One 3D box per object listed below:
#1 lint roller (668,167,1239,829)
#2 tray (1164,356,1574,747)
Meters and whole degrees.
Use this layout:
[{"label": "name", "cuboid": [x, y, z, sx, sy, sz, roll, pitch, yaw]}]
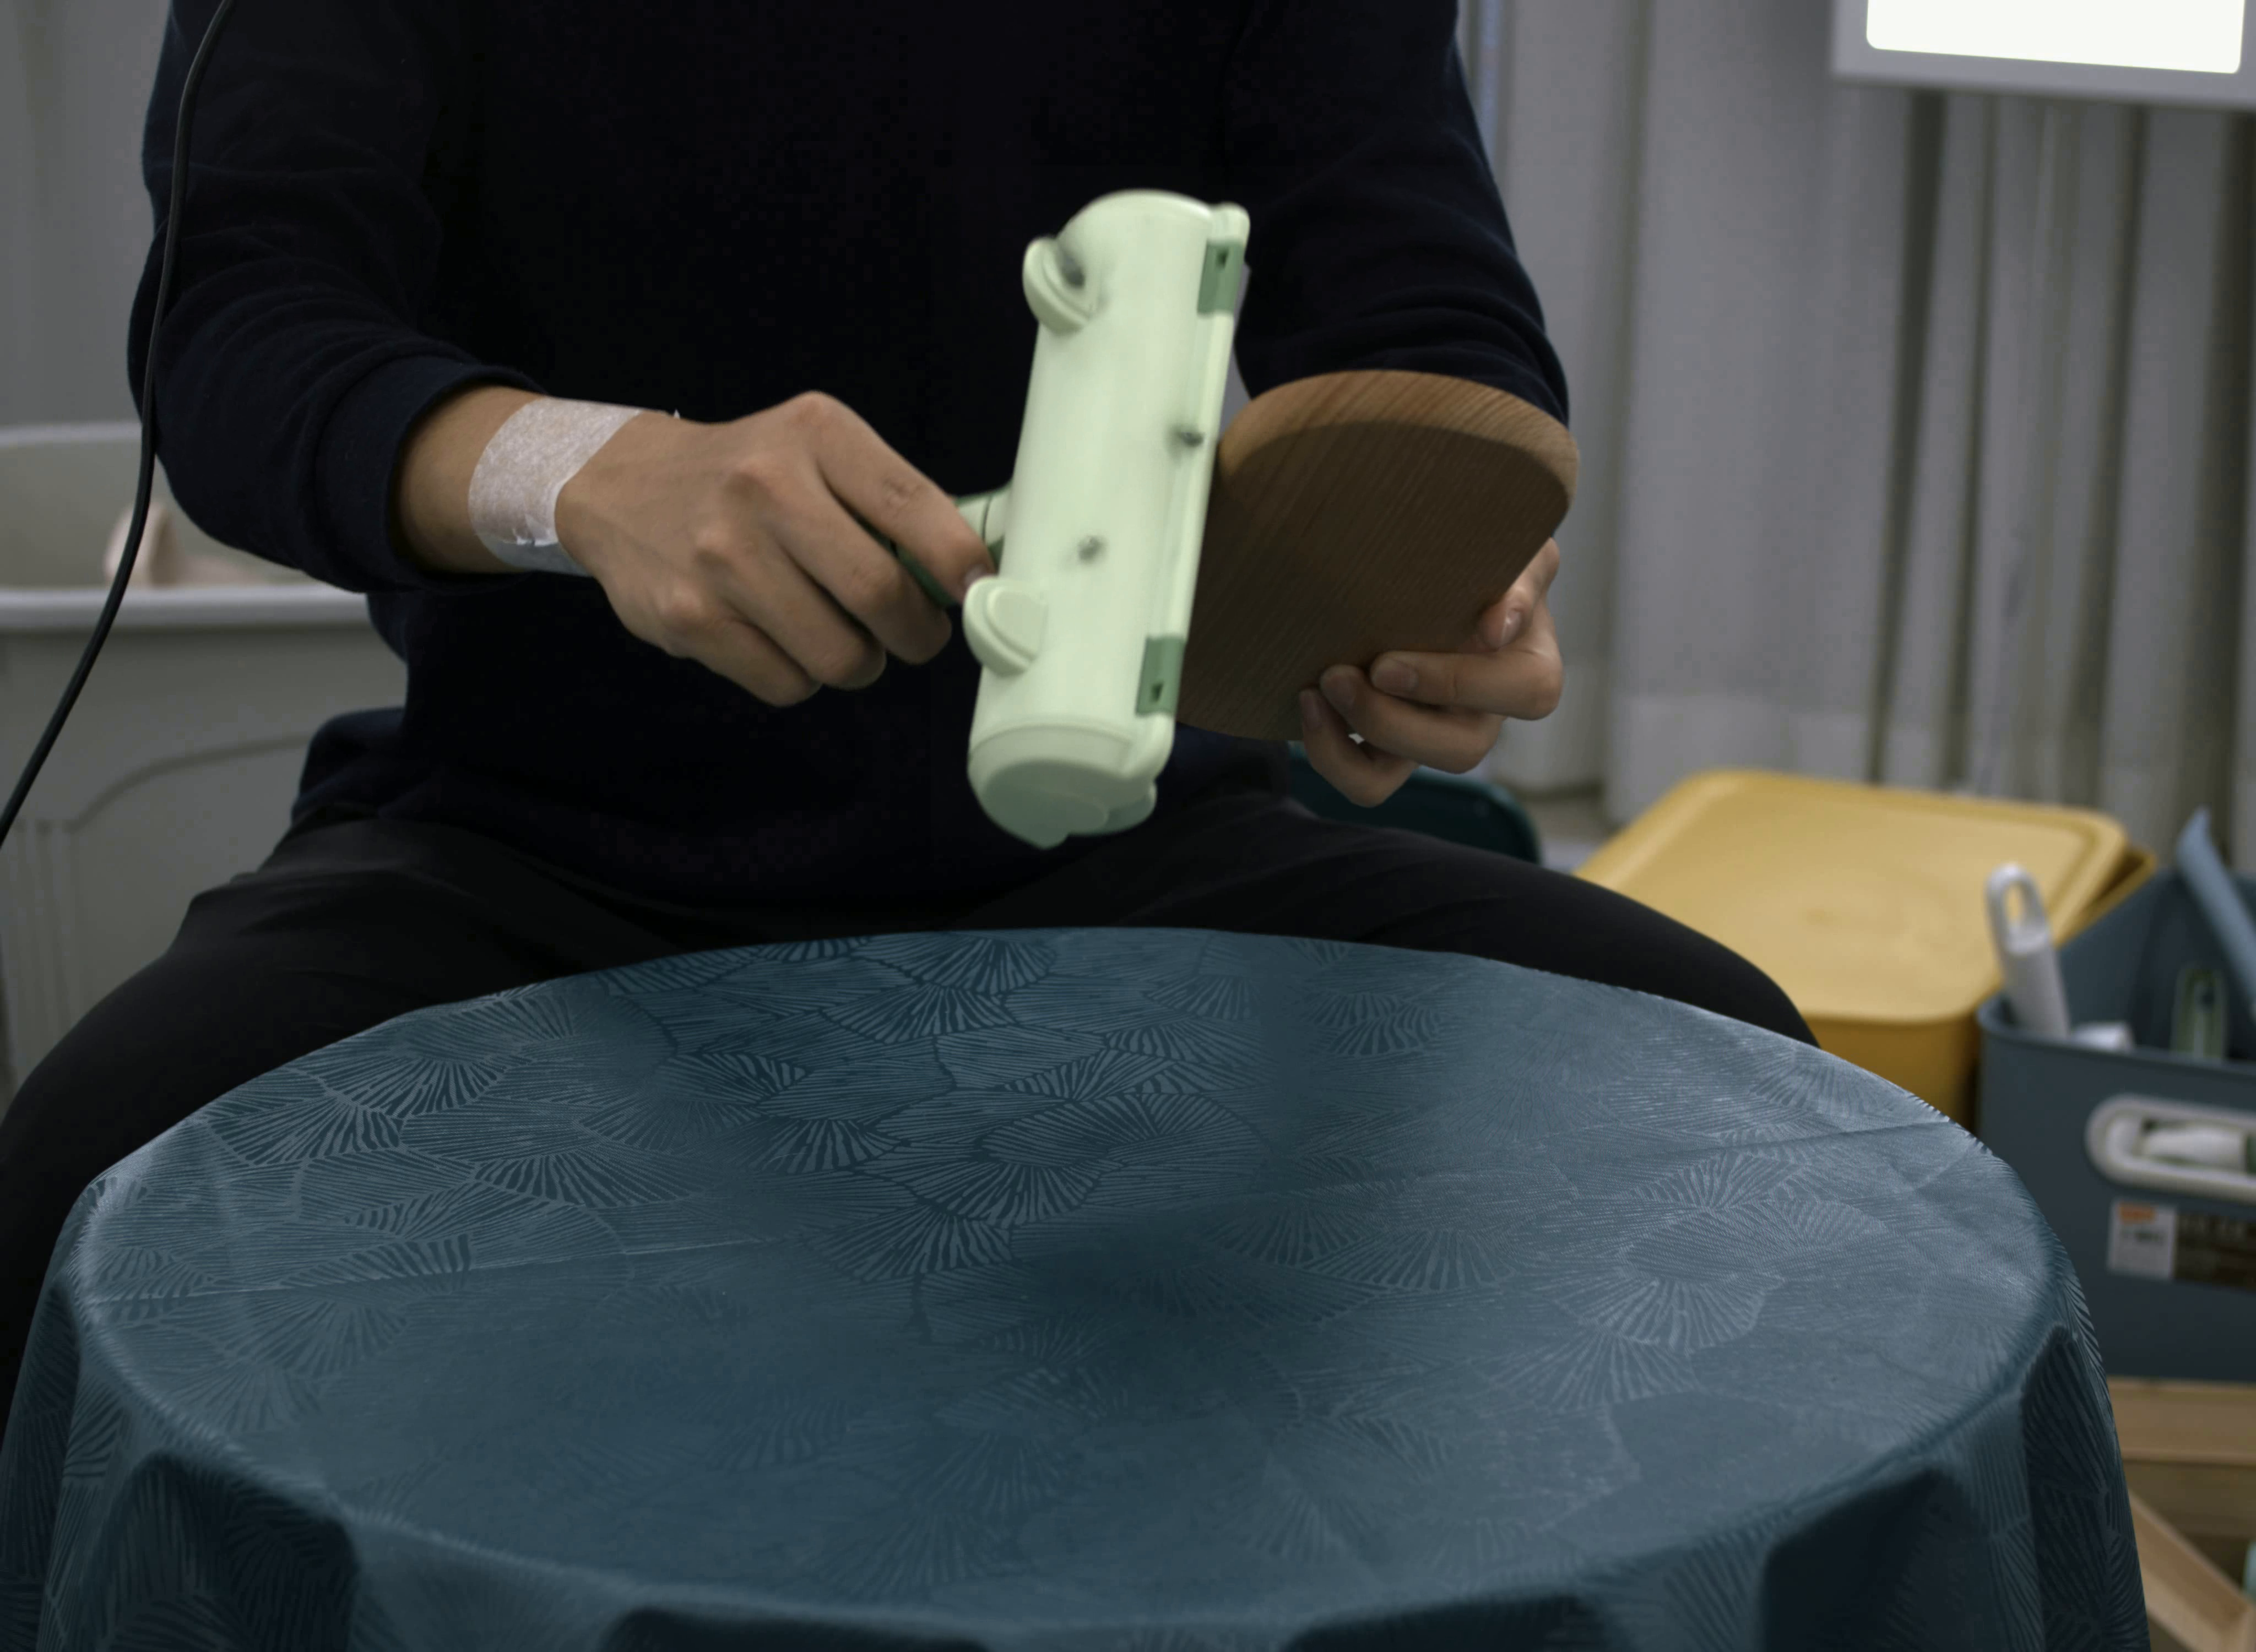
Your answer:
[{"label": "lint roller", "cuboid": [-0.062, -0.092, 1.490, 0.182, 0.083, 0.197, -6, 58, 21]}, {"label": "tray", "cuboid": [0.057, -0.075, 1.526, 0.102, 0.020, 0.232, 12, -26, -11]}]
